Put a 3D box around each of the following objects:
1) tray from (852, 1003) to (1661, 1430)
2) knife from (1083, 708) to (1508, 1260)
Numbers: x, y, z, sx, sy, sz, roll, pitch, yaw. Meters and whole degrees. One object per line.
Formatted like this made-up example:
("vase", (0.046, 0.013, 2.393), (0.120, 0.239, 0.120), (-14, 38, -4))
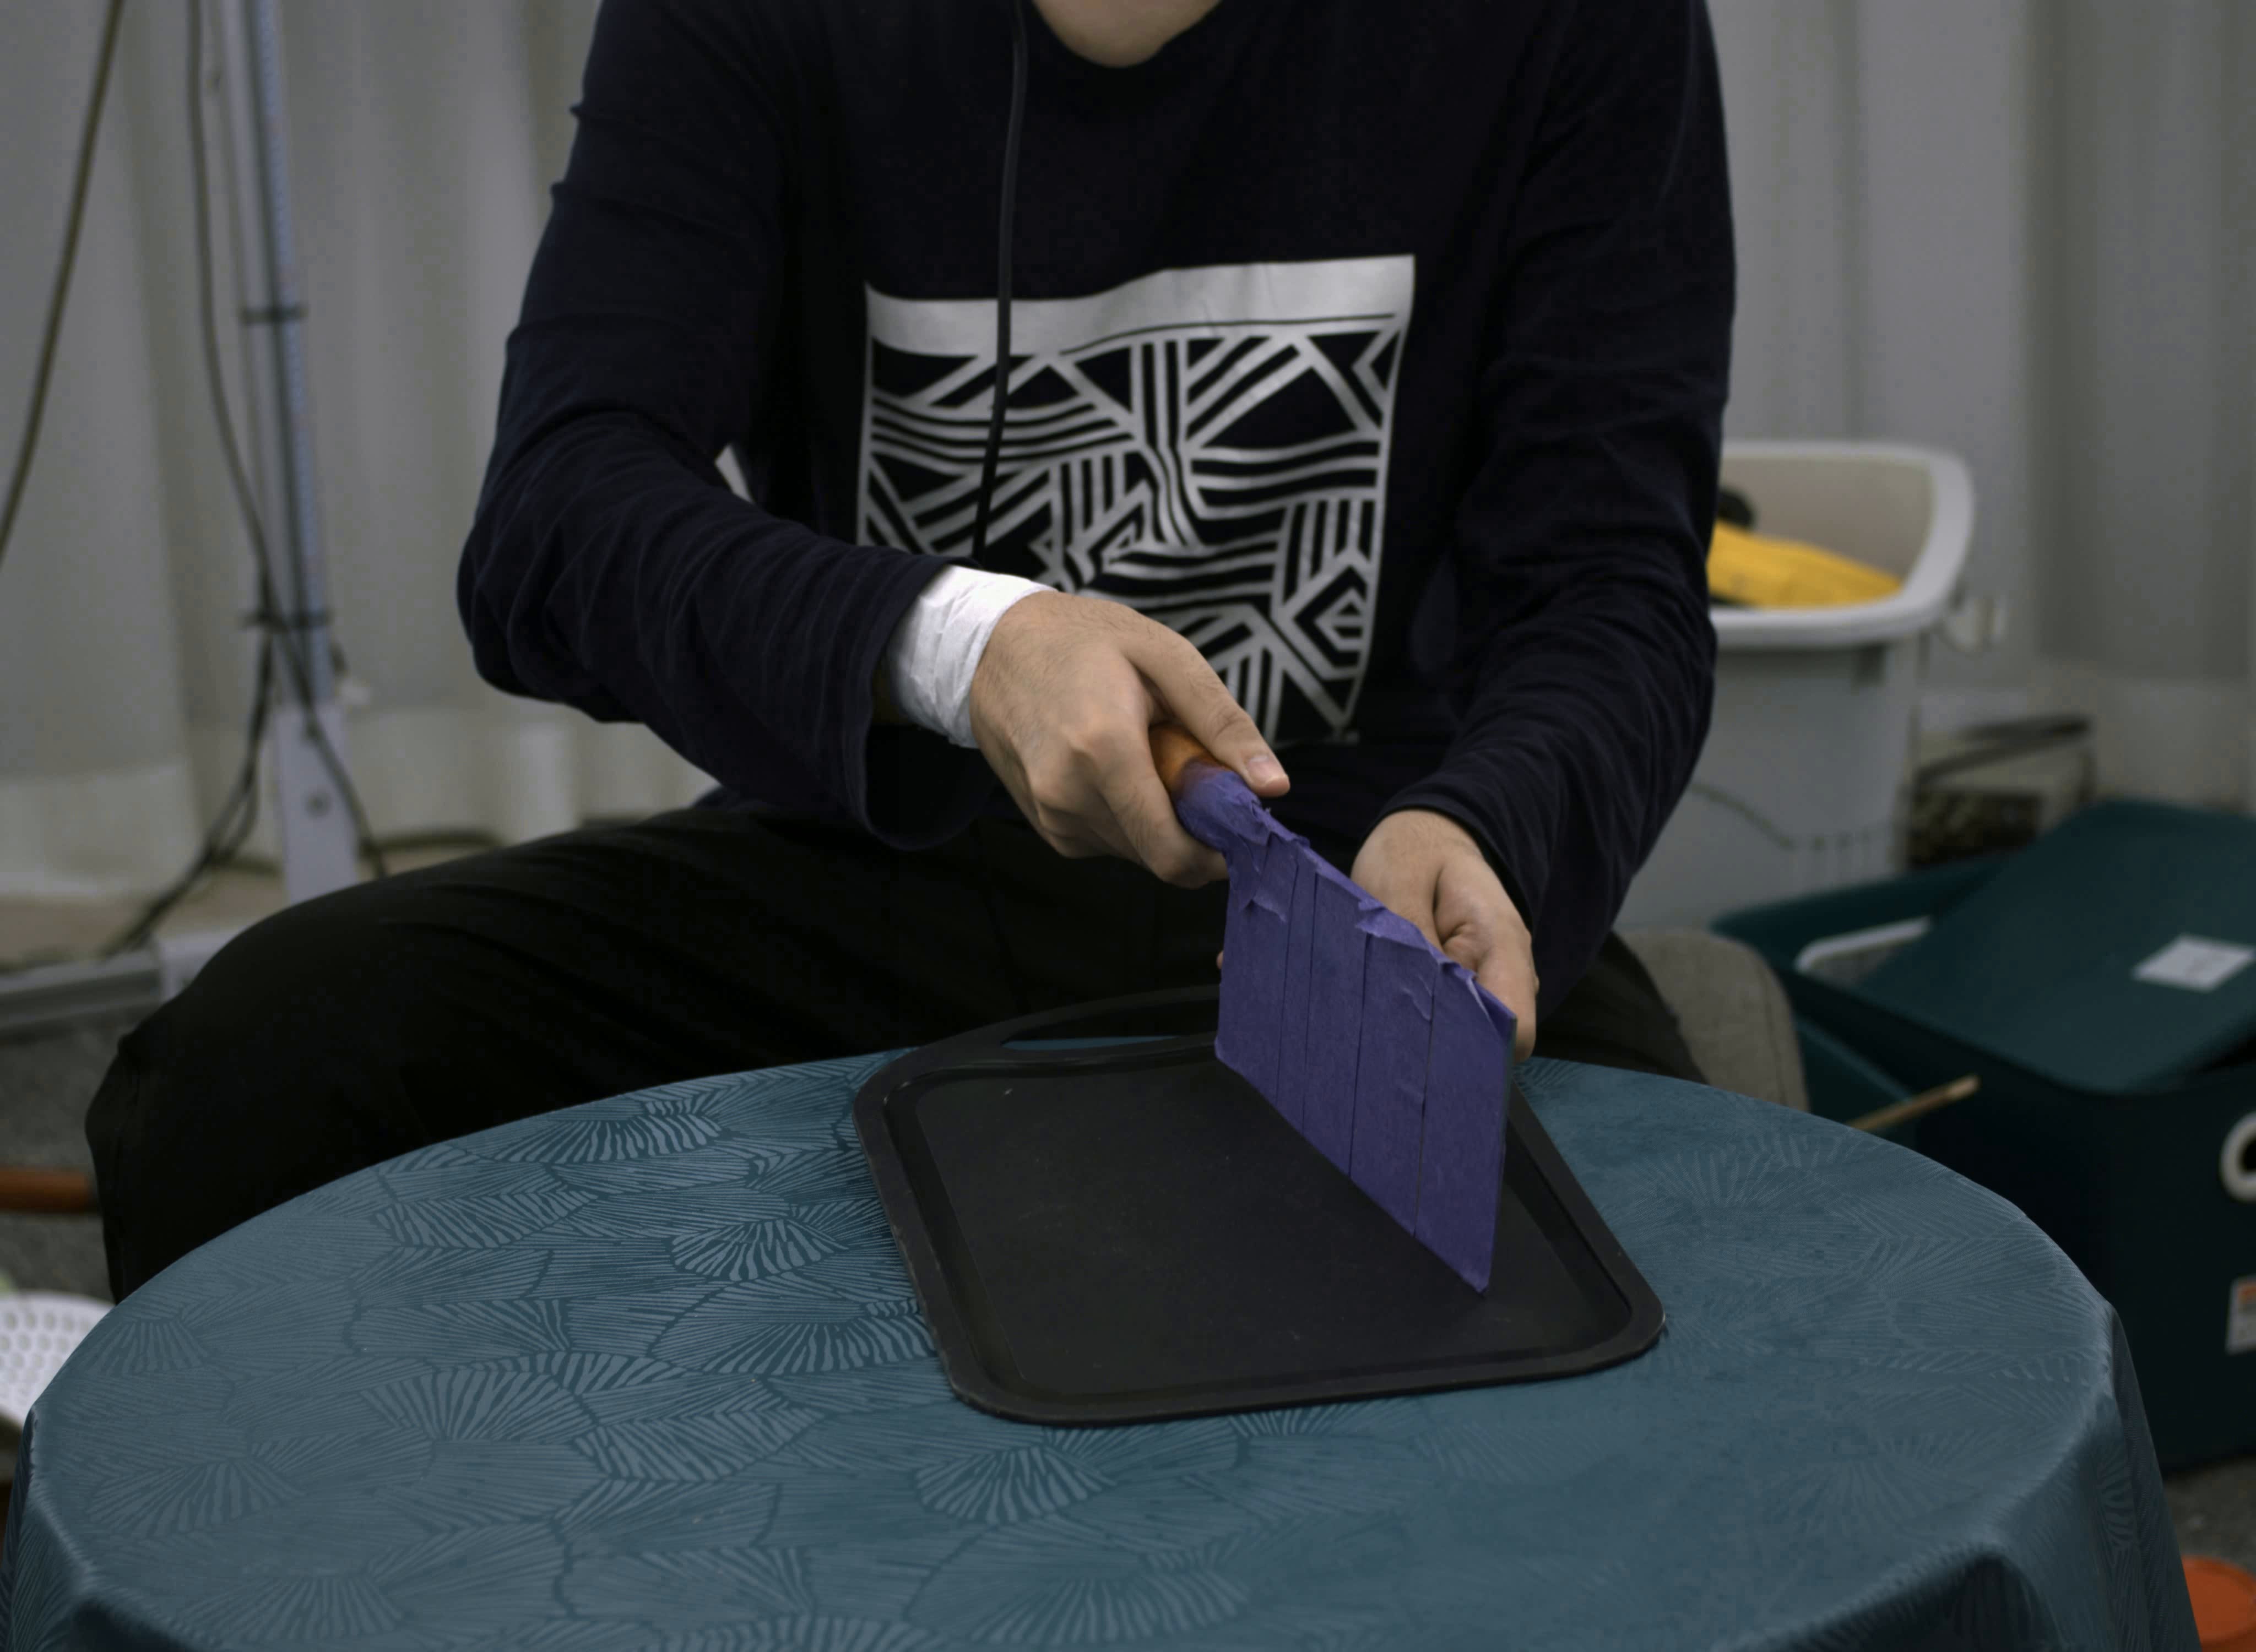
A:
("tray", (0.030, 0.111, 1.679), (0.210, 0.010, 0.328), (-5, 19, -8))
("knife", (0.047, 0.047, 1.714), (0.032, 0.103, 0.318), (0, 17, -20))
